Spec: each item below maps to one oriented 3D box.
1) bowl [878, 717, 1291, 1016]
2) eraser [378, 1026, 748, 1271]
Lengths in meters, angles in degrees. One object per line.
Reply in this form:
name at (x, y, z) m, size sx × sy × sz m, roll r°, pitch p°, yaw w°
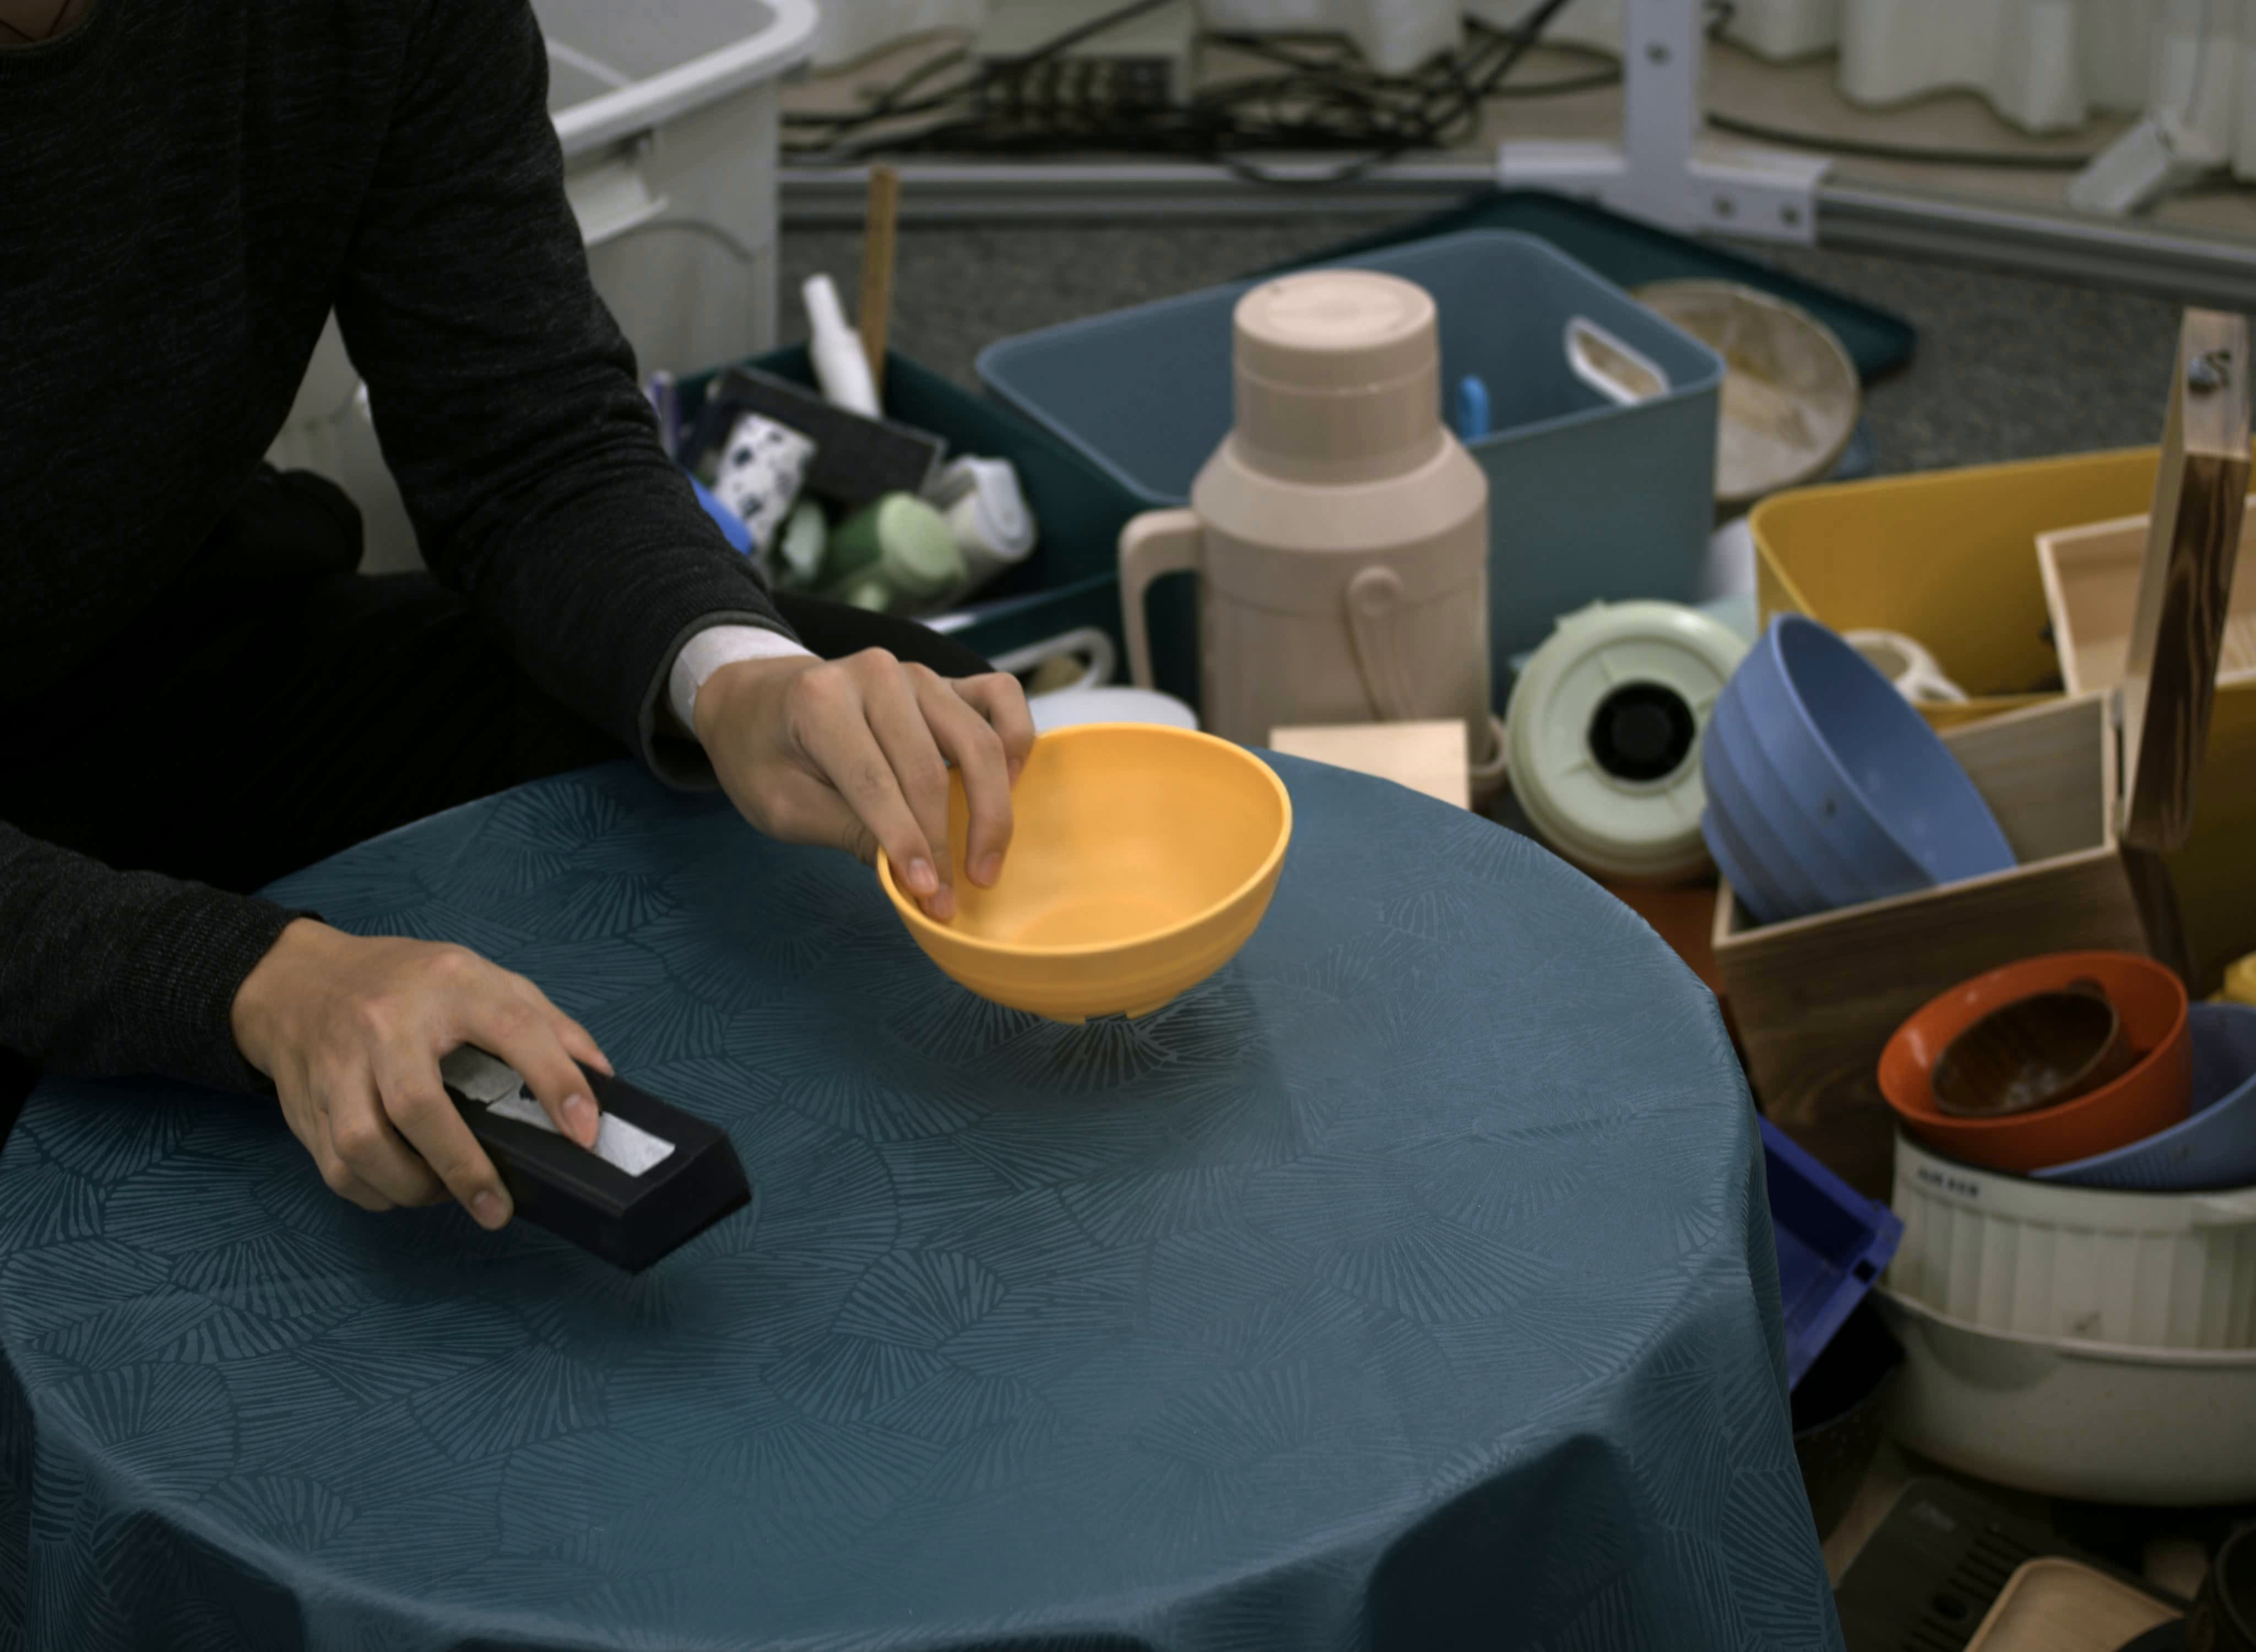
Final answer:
bowl at (-0.013, 0.023, 1.944) m, size 0.144 × 0.059 × 0.148 m, roll -3°, pitch 32°, yaw 2°
eraser at (-0.182, 0.103, 1.812) m, size 0.125 × 0.030 × 0.054 m, roll 20°, pitch 41°, yaw 39°
